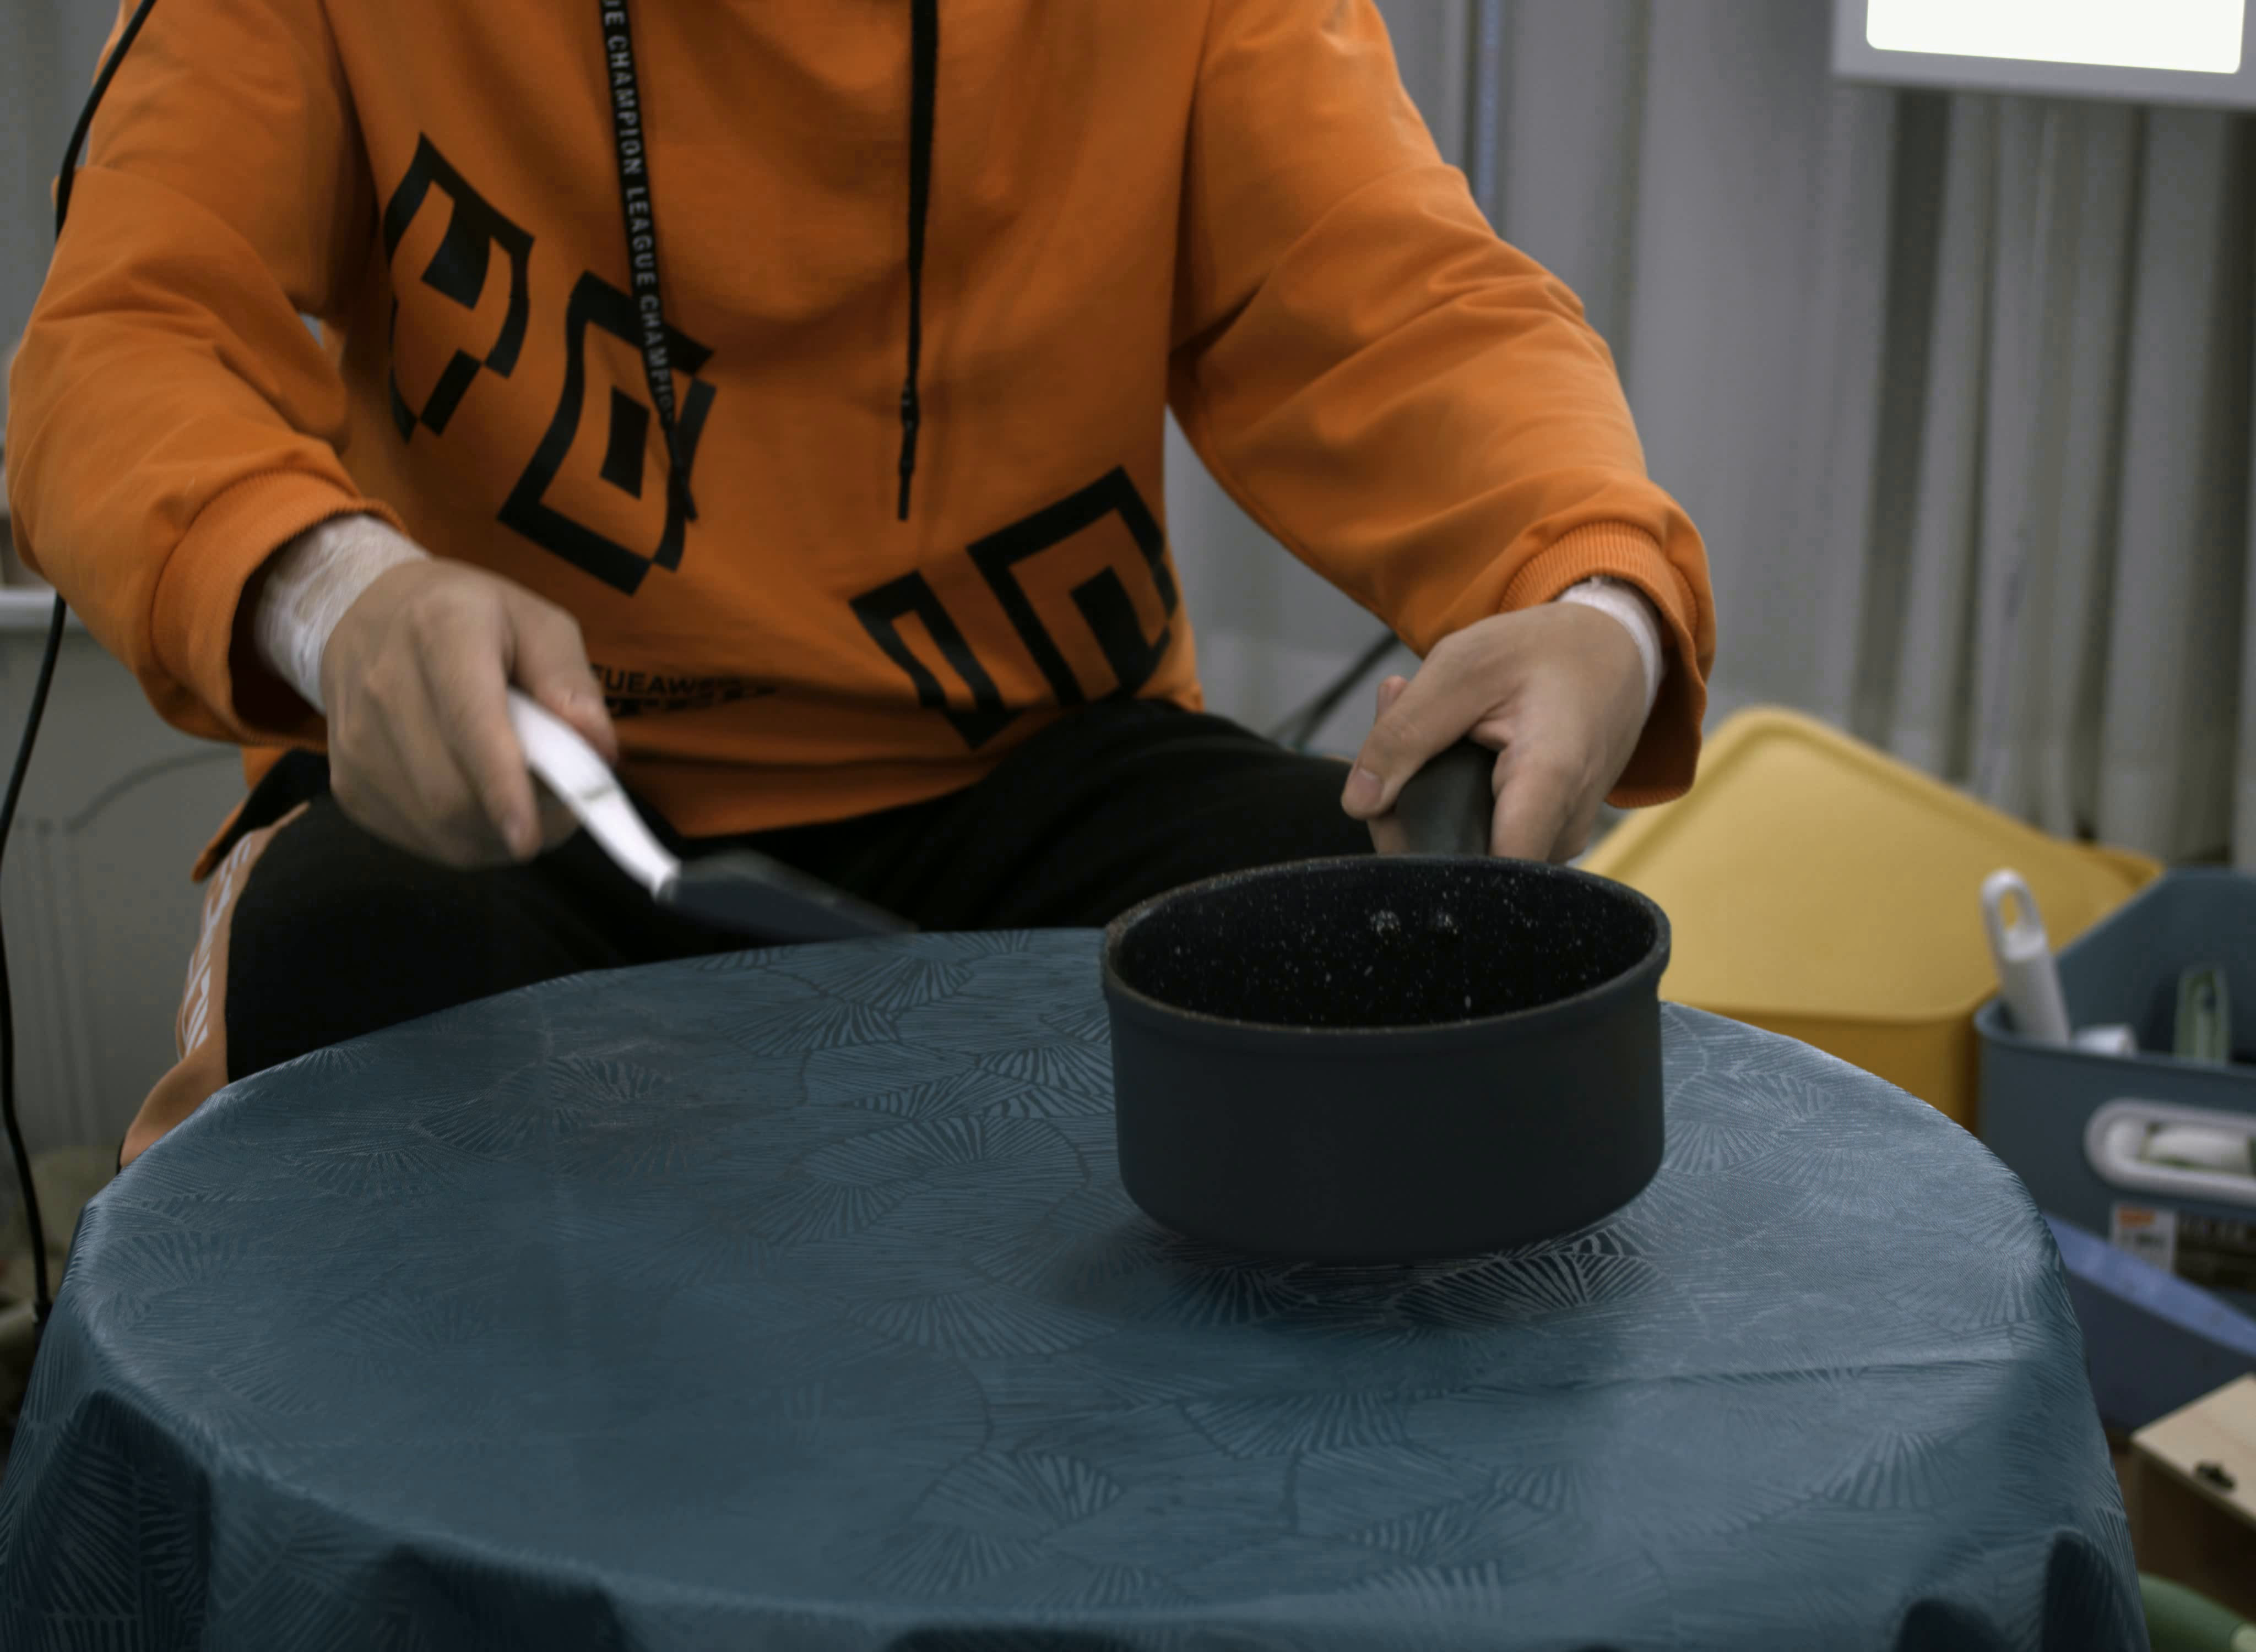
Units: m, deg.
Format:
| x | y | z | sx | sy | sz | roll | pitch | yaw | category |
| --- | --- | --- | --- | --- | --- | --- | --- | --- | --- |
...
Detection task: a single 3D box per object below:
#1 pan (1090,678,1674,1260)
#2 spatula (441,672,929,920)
| x | y | z | sx | sy | sz | roll | pitch | yaw | category |
| --- | --- | --- | --- | --- | --- | --- | --- | --- | --- |
| 0.092 | 0.040 | 1.632 | 0.171 | 0.087 | 0.328 | 2 | 18 | 12 | pan |
| -0.139 | -0.005 | 1.545 | 0.059 | 0.032 | 0.284 | 29 | -3 | -29 | spatula |
